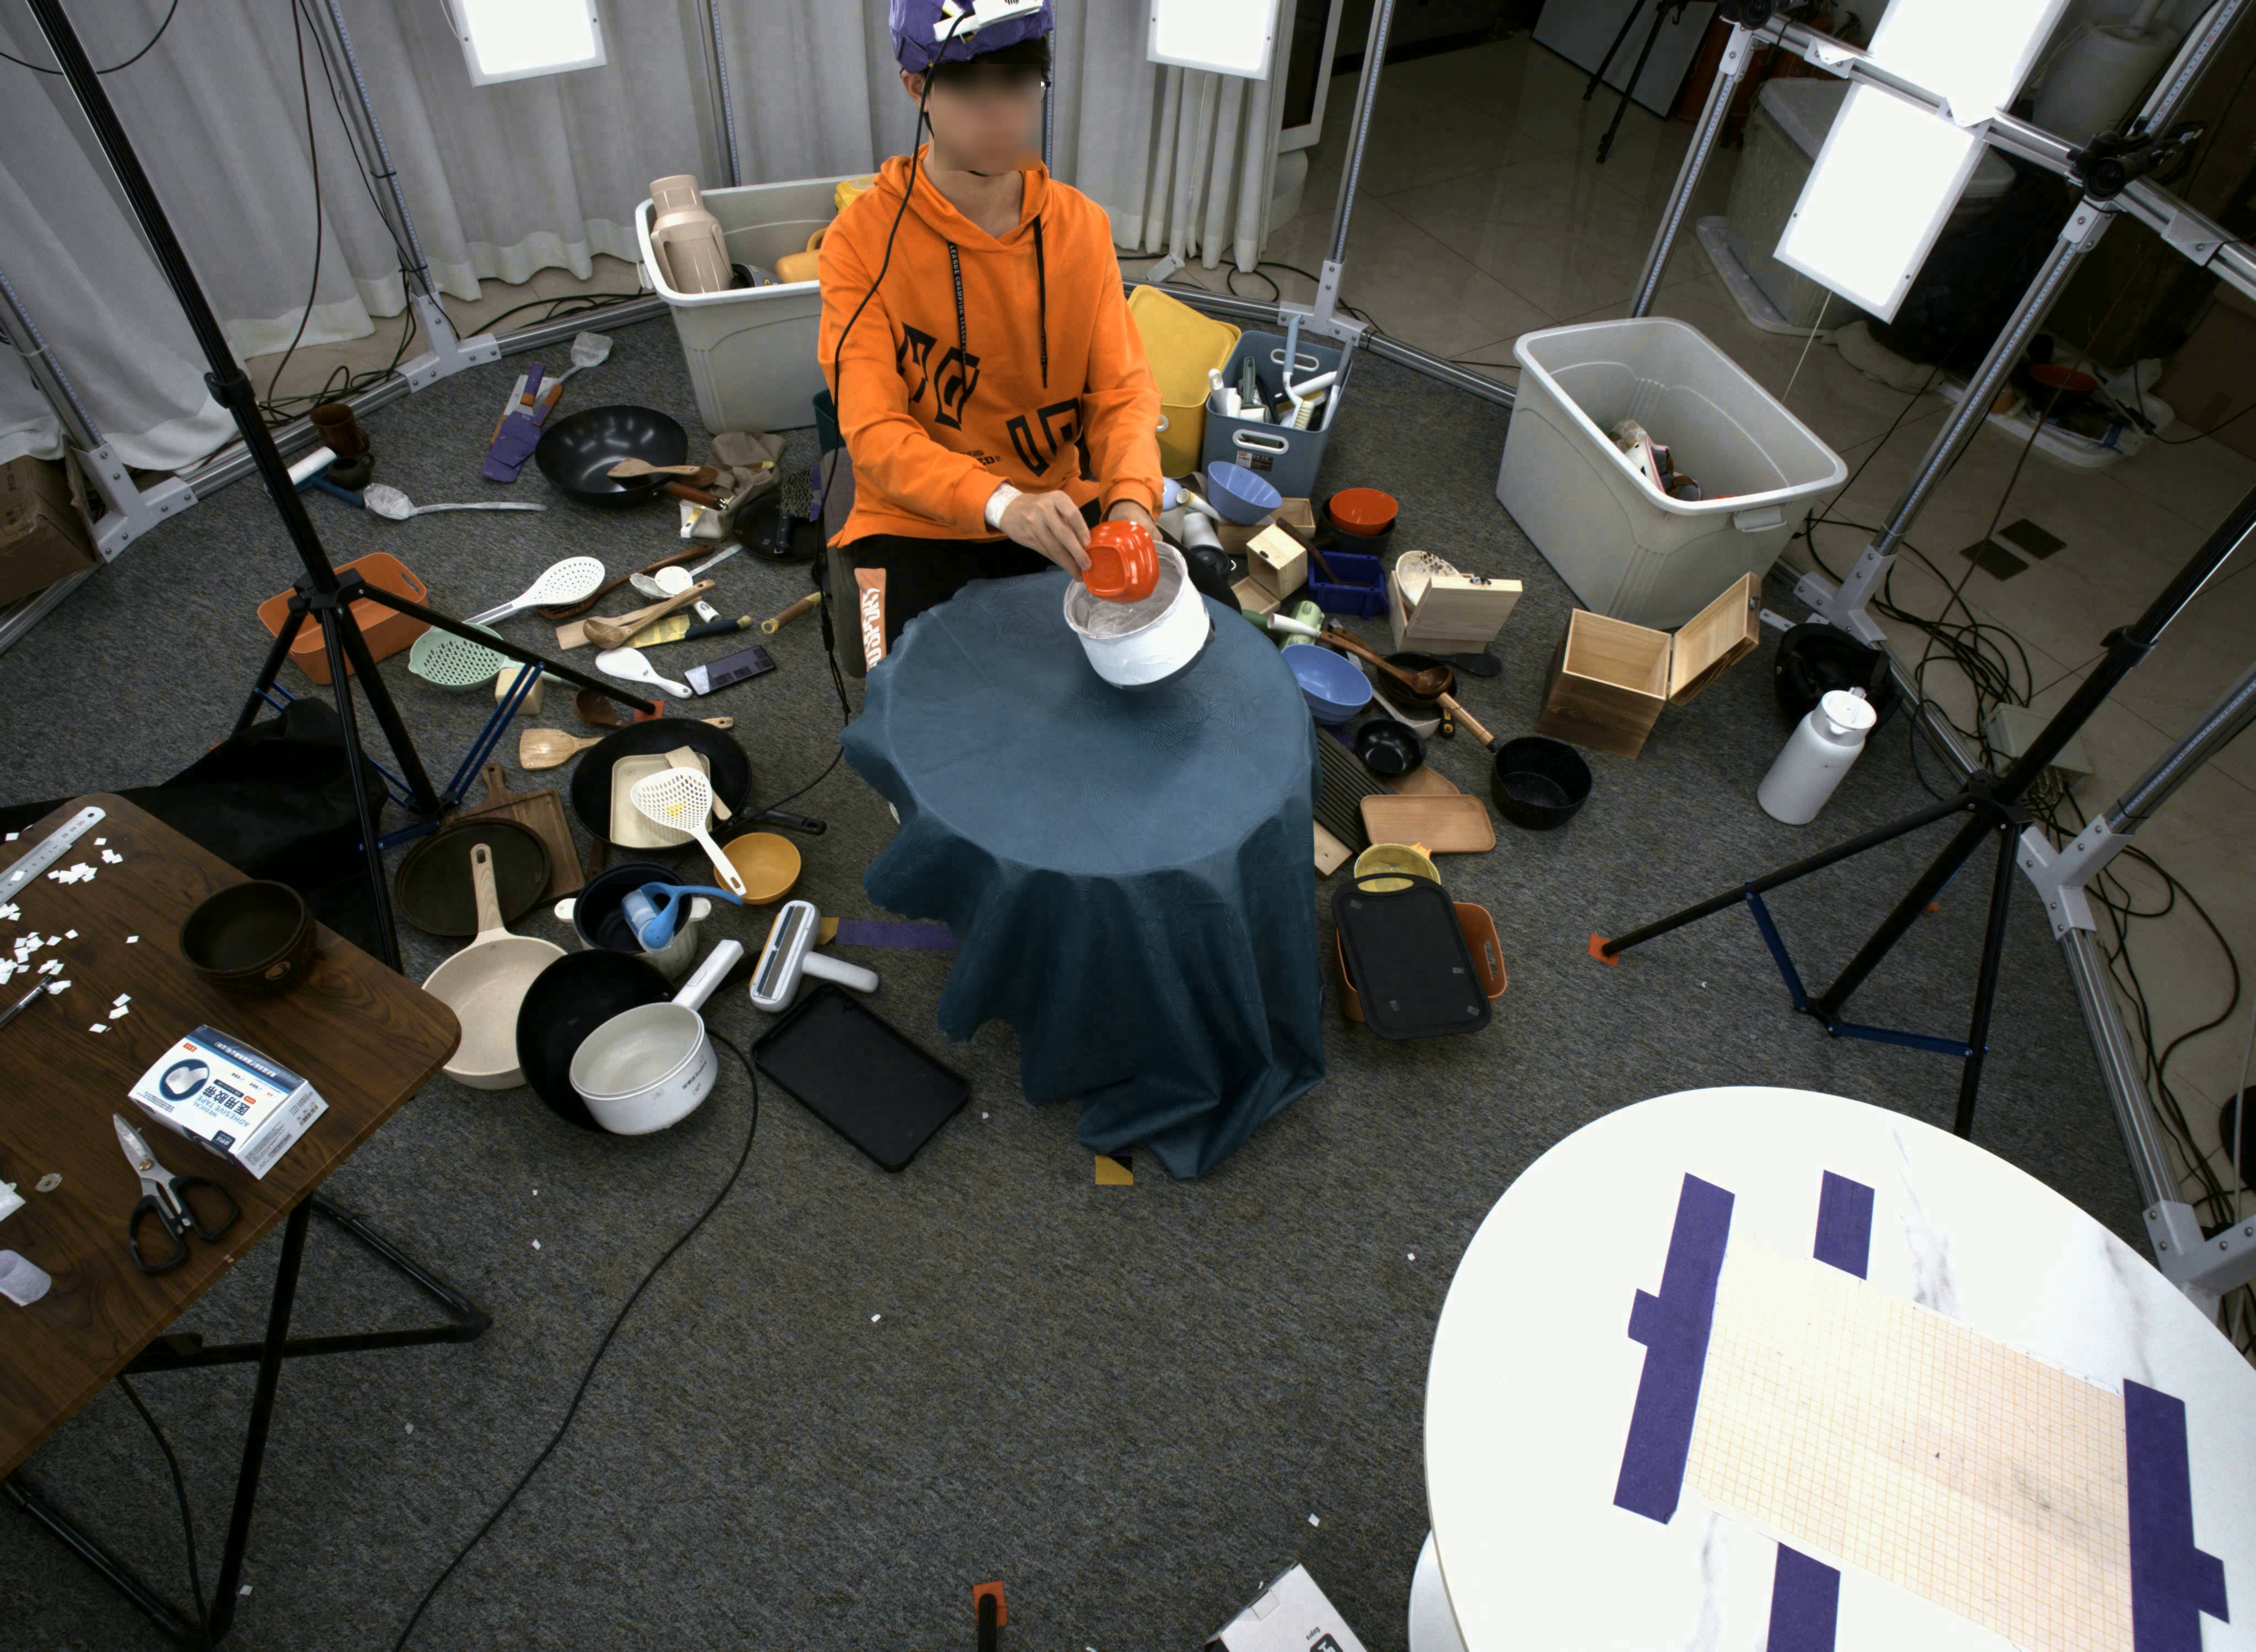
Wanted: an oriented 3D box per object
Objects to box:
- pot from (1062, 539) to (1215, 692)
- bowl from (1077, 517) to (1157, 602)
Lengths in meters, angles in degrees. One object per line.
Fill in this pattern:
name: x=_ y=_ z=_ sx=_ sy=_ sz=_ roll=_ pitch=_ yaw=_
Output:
pot: x=0.013 y=-0.304 z=1.772 sx=0.178 sy=0.133 sz=0.239 roll=-18 pitch=50 yaw=12
bowl: x=-0.023 y=-0.337 z=1.657 sx=0.120 sy=0.116 sz=0.052 roll=30 pitch=36 yaw=20
